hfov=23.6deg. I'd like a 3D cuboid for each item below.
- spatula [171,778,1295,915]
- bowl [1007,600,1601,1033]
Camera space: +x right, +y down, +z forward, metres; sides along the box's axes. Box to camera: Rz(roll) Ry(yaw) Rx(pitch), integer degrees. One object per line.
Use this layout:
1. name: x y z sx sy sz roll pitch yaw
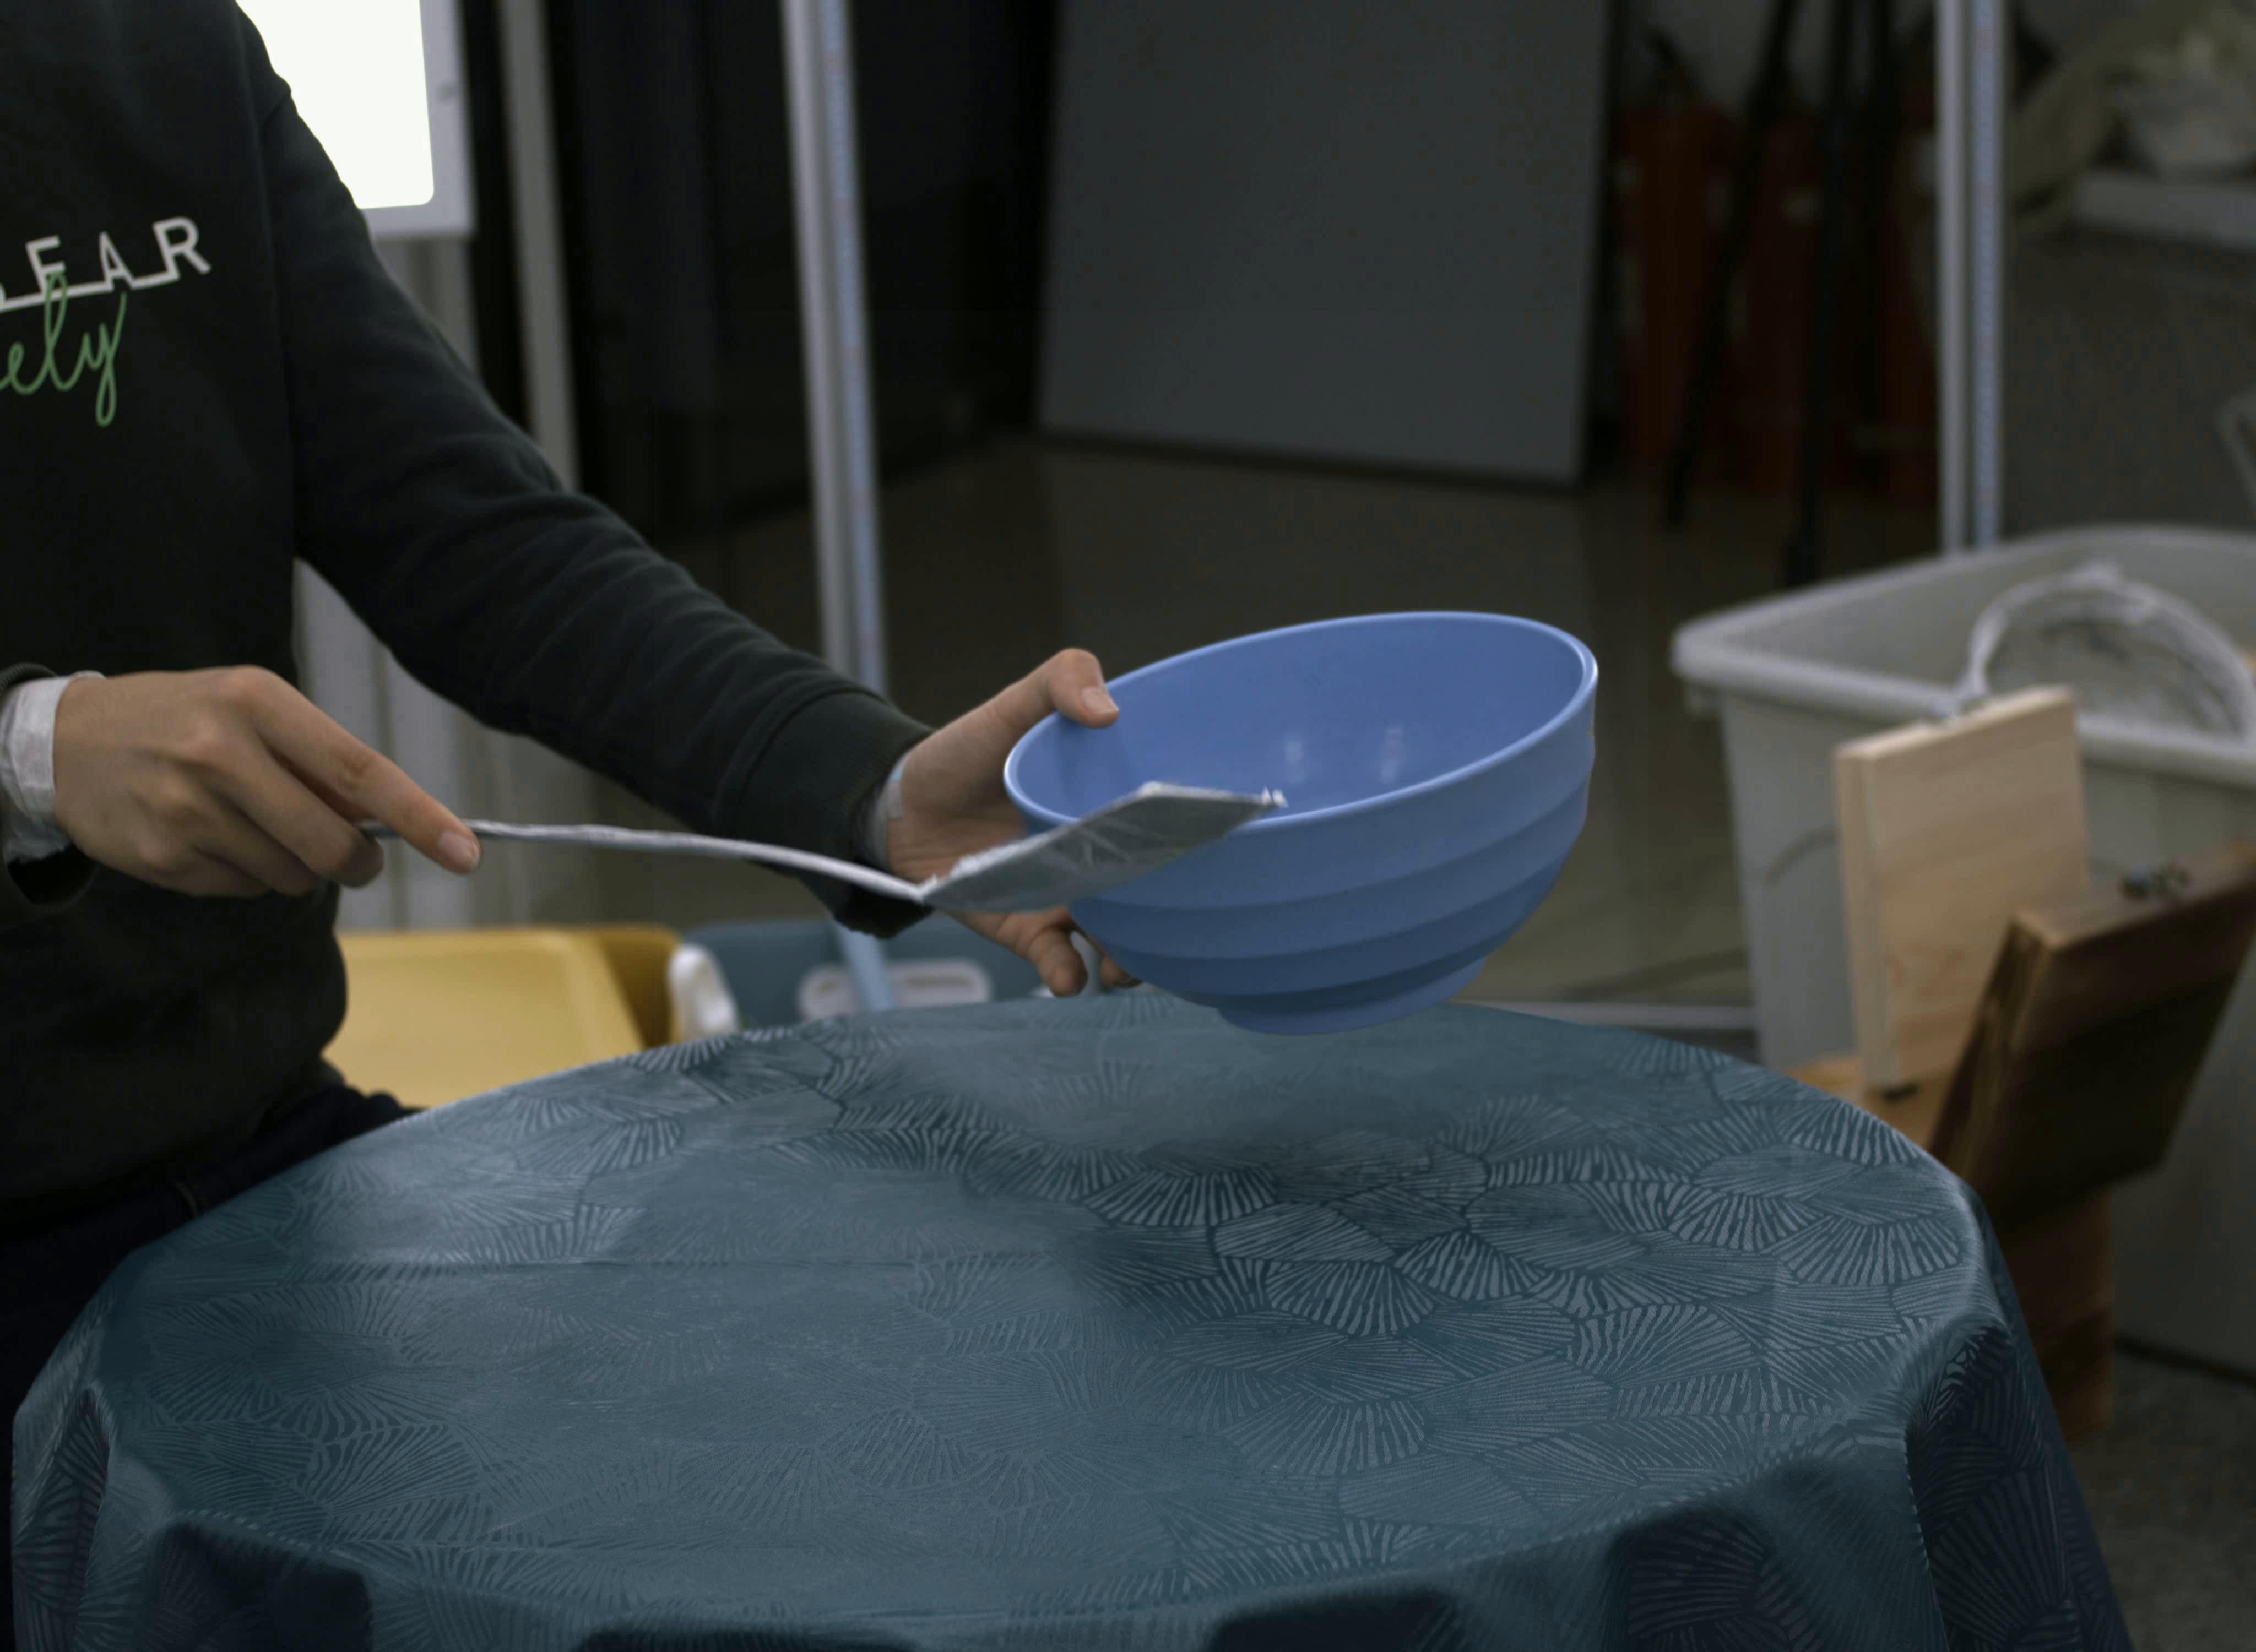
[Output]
1. spatula: -0.127 0.001 1.556 0.365 0.045 0.097 3 0 25
2. bowl: 0.064 0.005 1.749 0.194 0.096 0.197 -11 19 3
